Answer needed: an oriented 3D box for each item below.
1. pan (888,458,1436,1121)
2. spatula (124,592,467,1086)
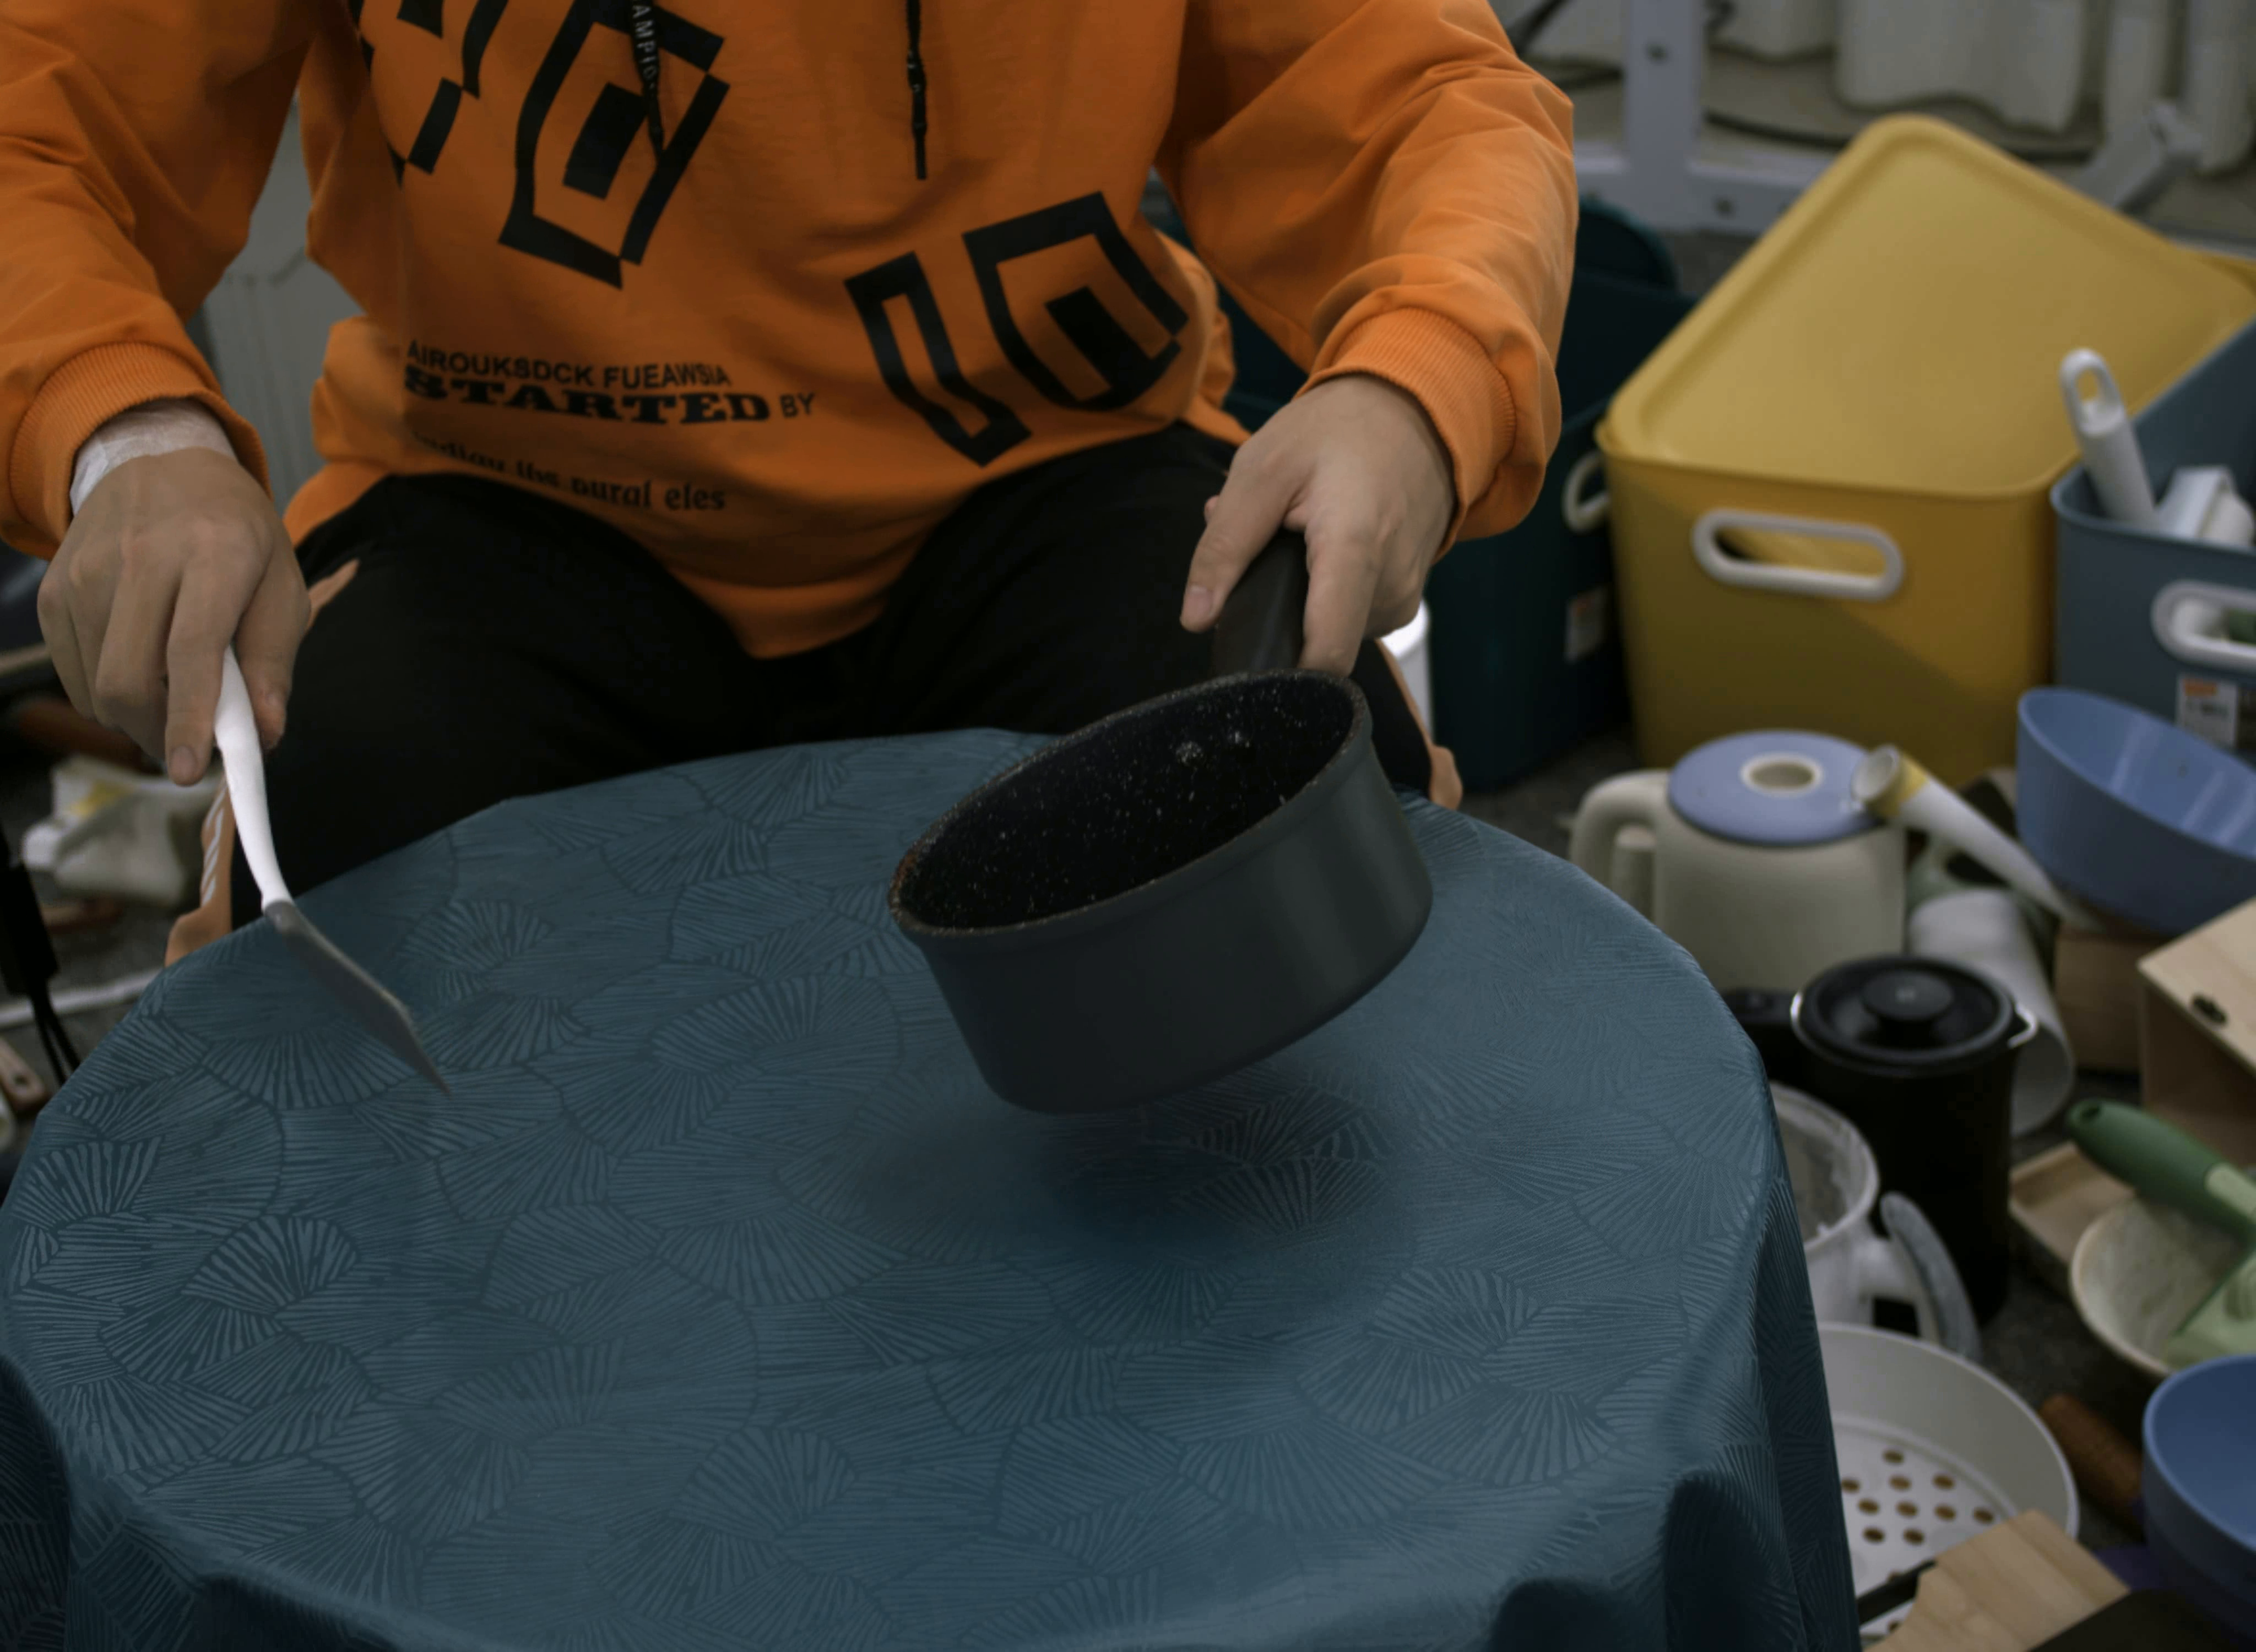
[{"bbox_3d":[0.037,-0.016,1.917,0.170,0.086,0.334,-14,23,26],"label":"pan"},{"bbox_3d":[-0.282,0.003,1.876,0.032,0.058,0.290,-30,38,-7],"label":"spatula"}]
